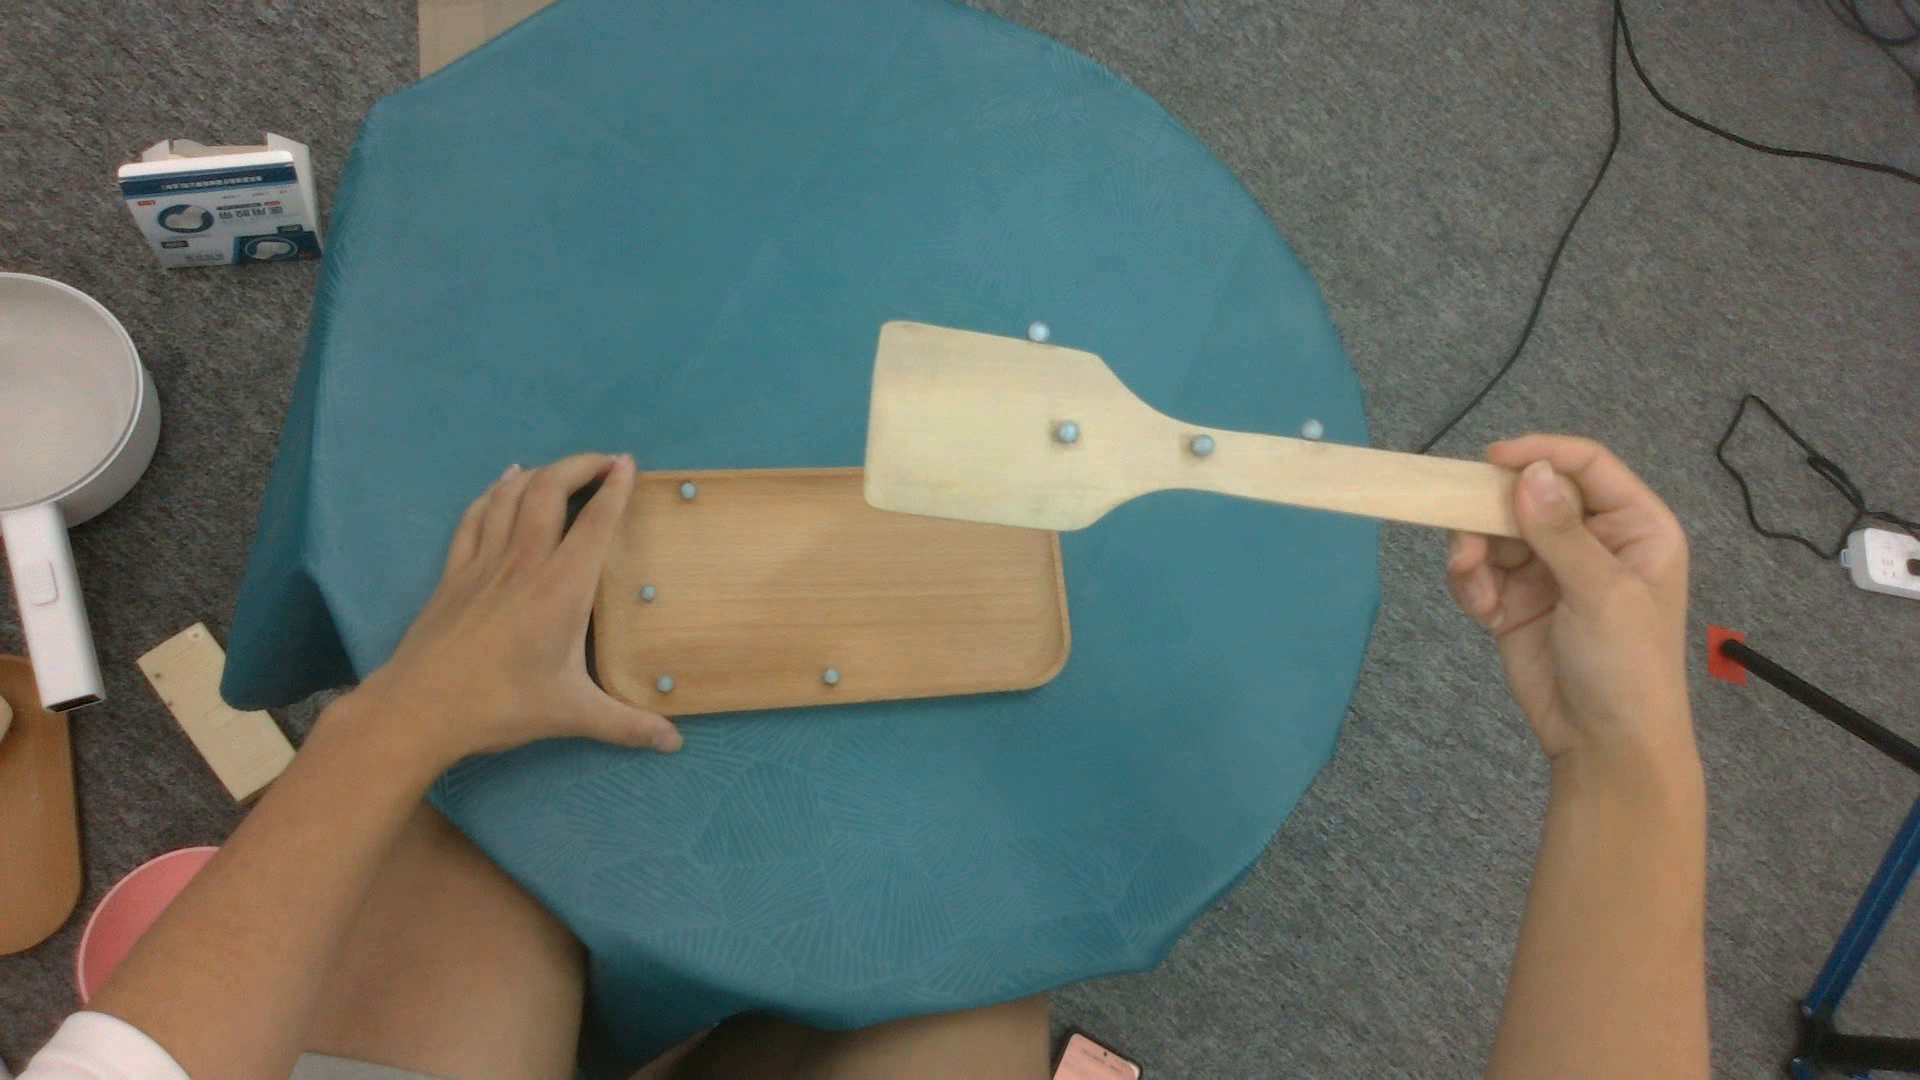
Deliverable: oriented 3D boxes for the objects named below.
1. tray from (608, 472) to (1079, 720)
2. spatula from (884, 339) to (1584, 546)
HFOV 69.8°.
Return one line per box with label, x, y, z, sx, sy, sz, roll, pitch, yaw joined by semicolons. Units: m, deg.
tray;-0.059;0.027;0.741;0.251;0.023;0.131;-1;76;-17
spatula;0.115;-0.027;0.541;0.293;0.010;0.072;6;83;-12
